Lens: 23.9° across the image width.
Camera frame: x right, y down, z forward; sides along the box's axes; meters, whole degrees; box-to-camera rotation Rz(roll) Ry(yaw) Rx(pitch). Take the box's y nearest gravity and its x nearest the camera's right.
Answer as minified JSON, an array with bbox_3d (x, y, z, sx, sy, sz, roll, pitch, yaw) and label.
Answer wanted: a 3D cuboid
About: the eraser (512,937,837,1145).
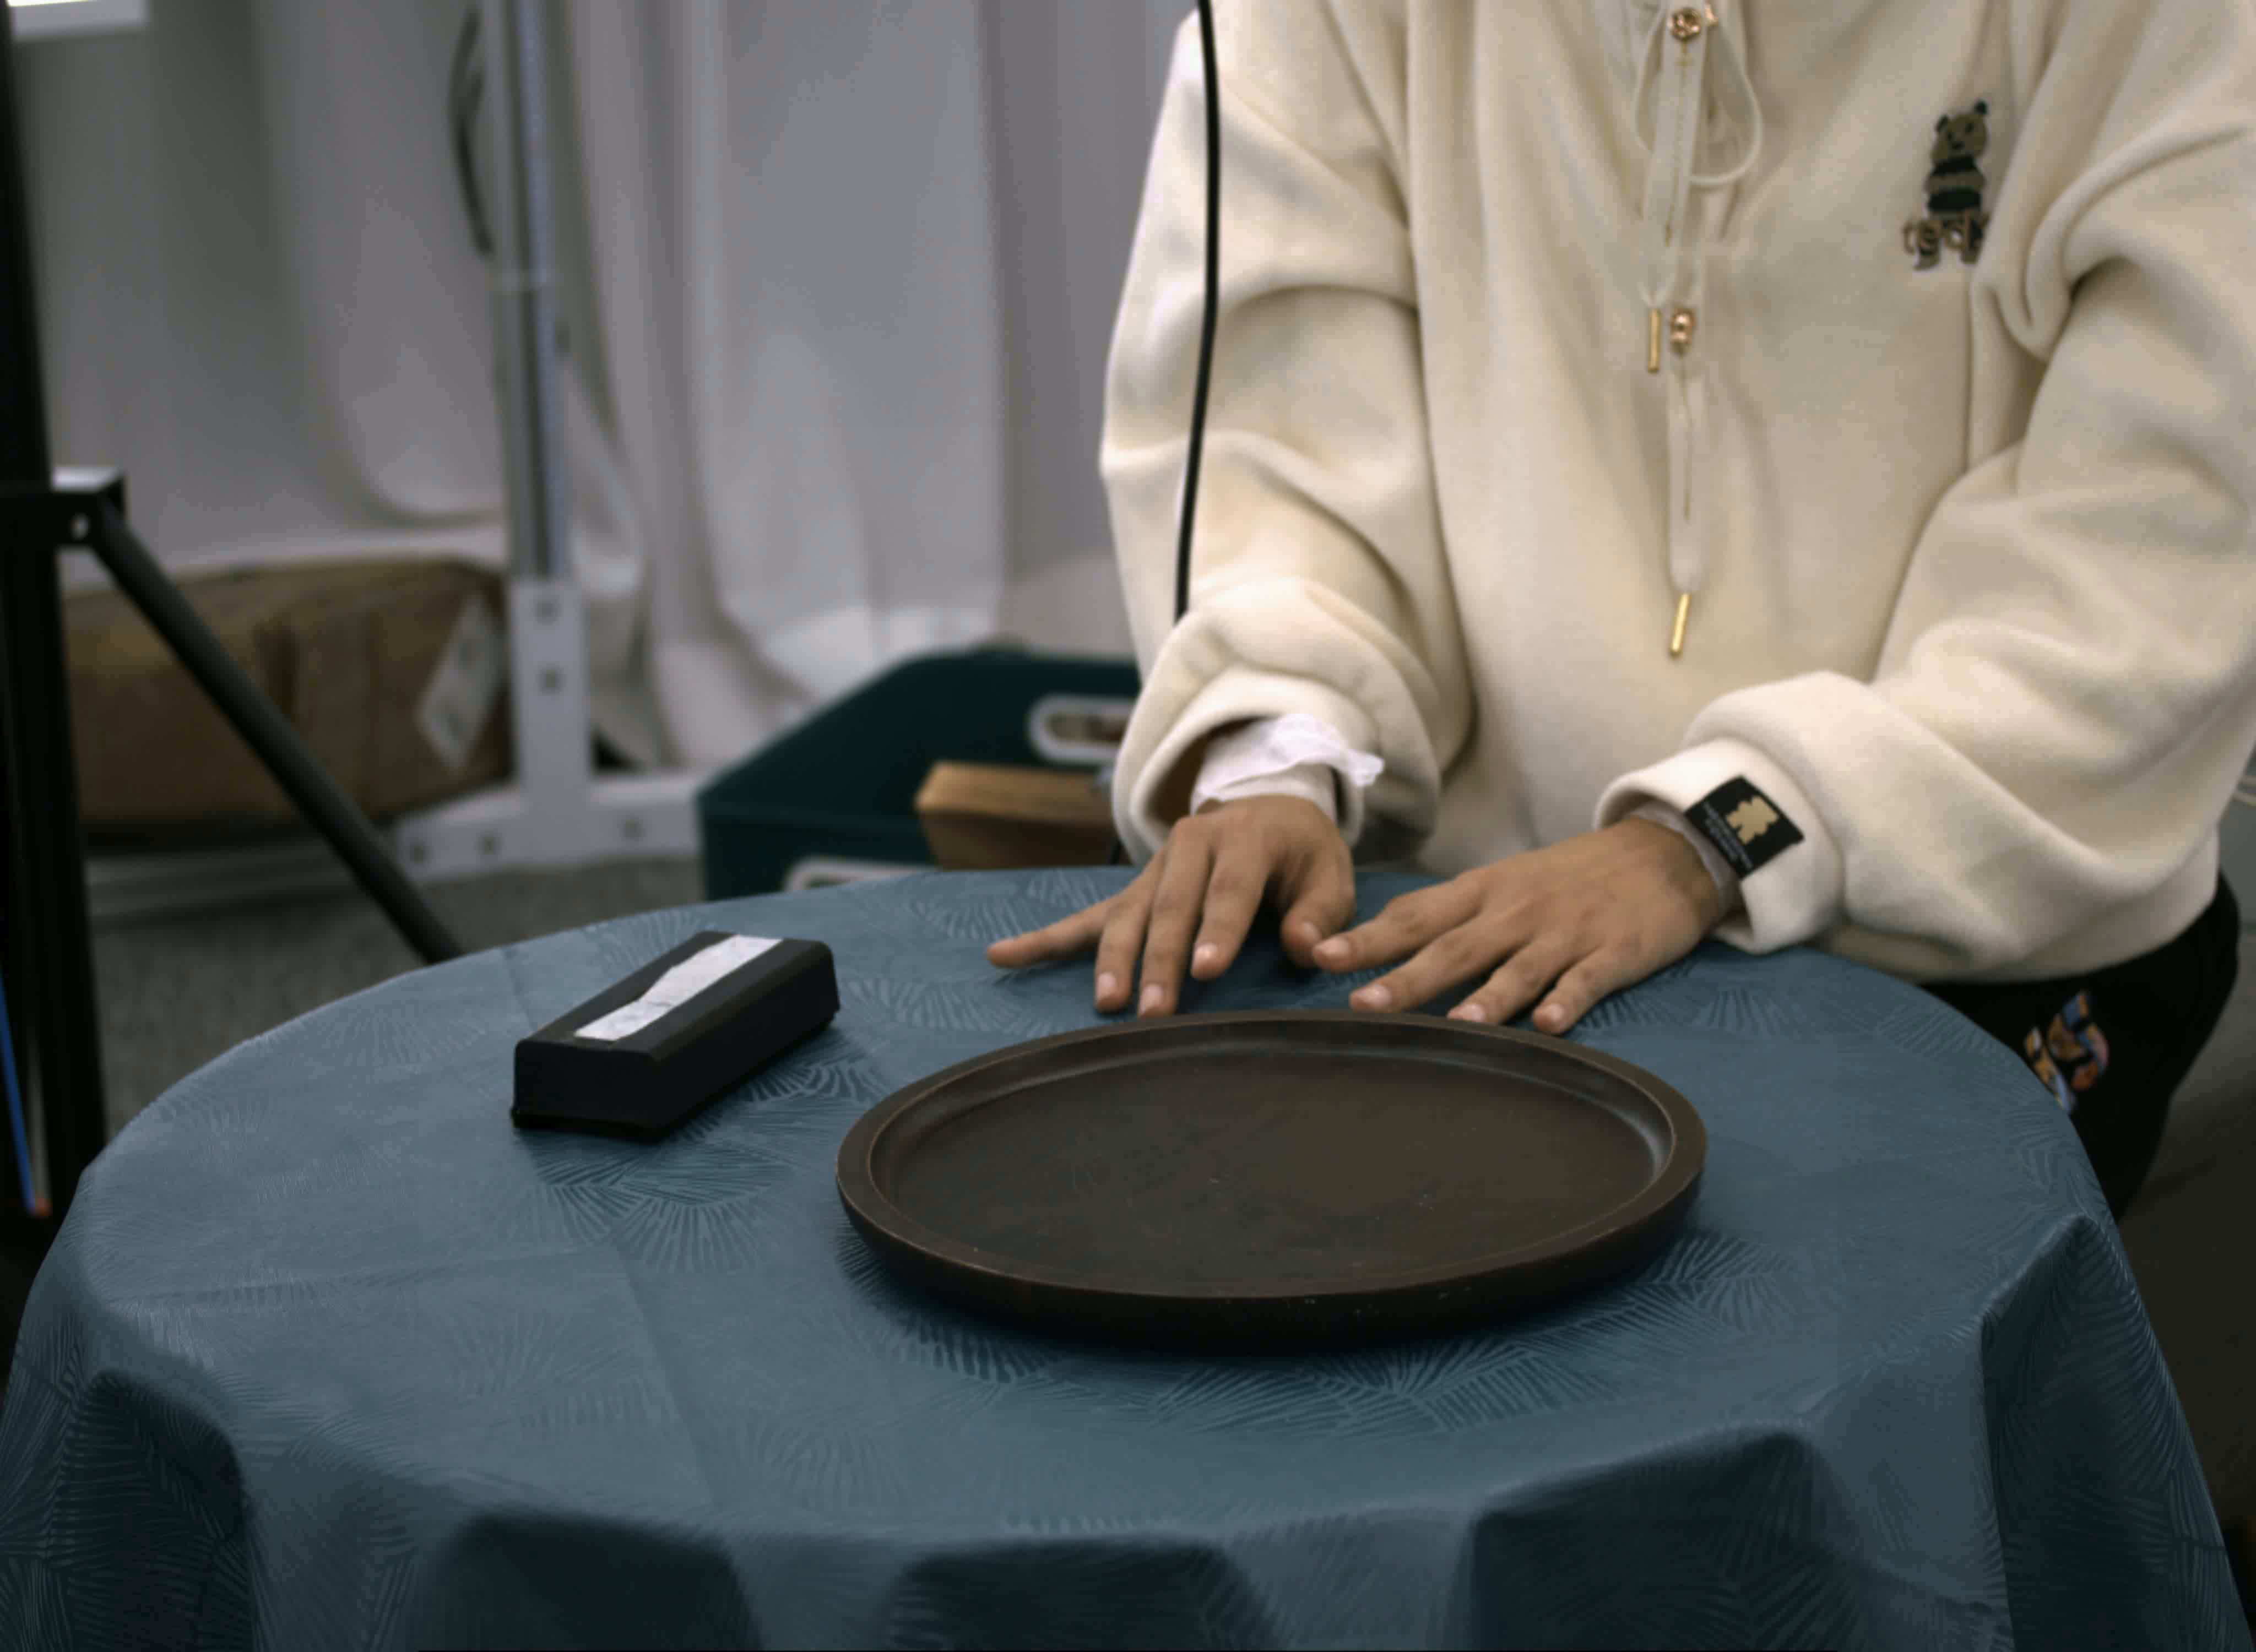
[{"bbox_3d":[-0.141,0.067,1.678,0.054,0.030,0.124,7,17,23],"label":"eraser"}]

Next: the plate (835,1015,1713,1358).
[{"bbox_3d":[0.042,0.101,1.532,0.253,0.029,0.256,-4,17,0],"label":"plate"}]
